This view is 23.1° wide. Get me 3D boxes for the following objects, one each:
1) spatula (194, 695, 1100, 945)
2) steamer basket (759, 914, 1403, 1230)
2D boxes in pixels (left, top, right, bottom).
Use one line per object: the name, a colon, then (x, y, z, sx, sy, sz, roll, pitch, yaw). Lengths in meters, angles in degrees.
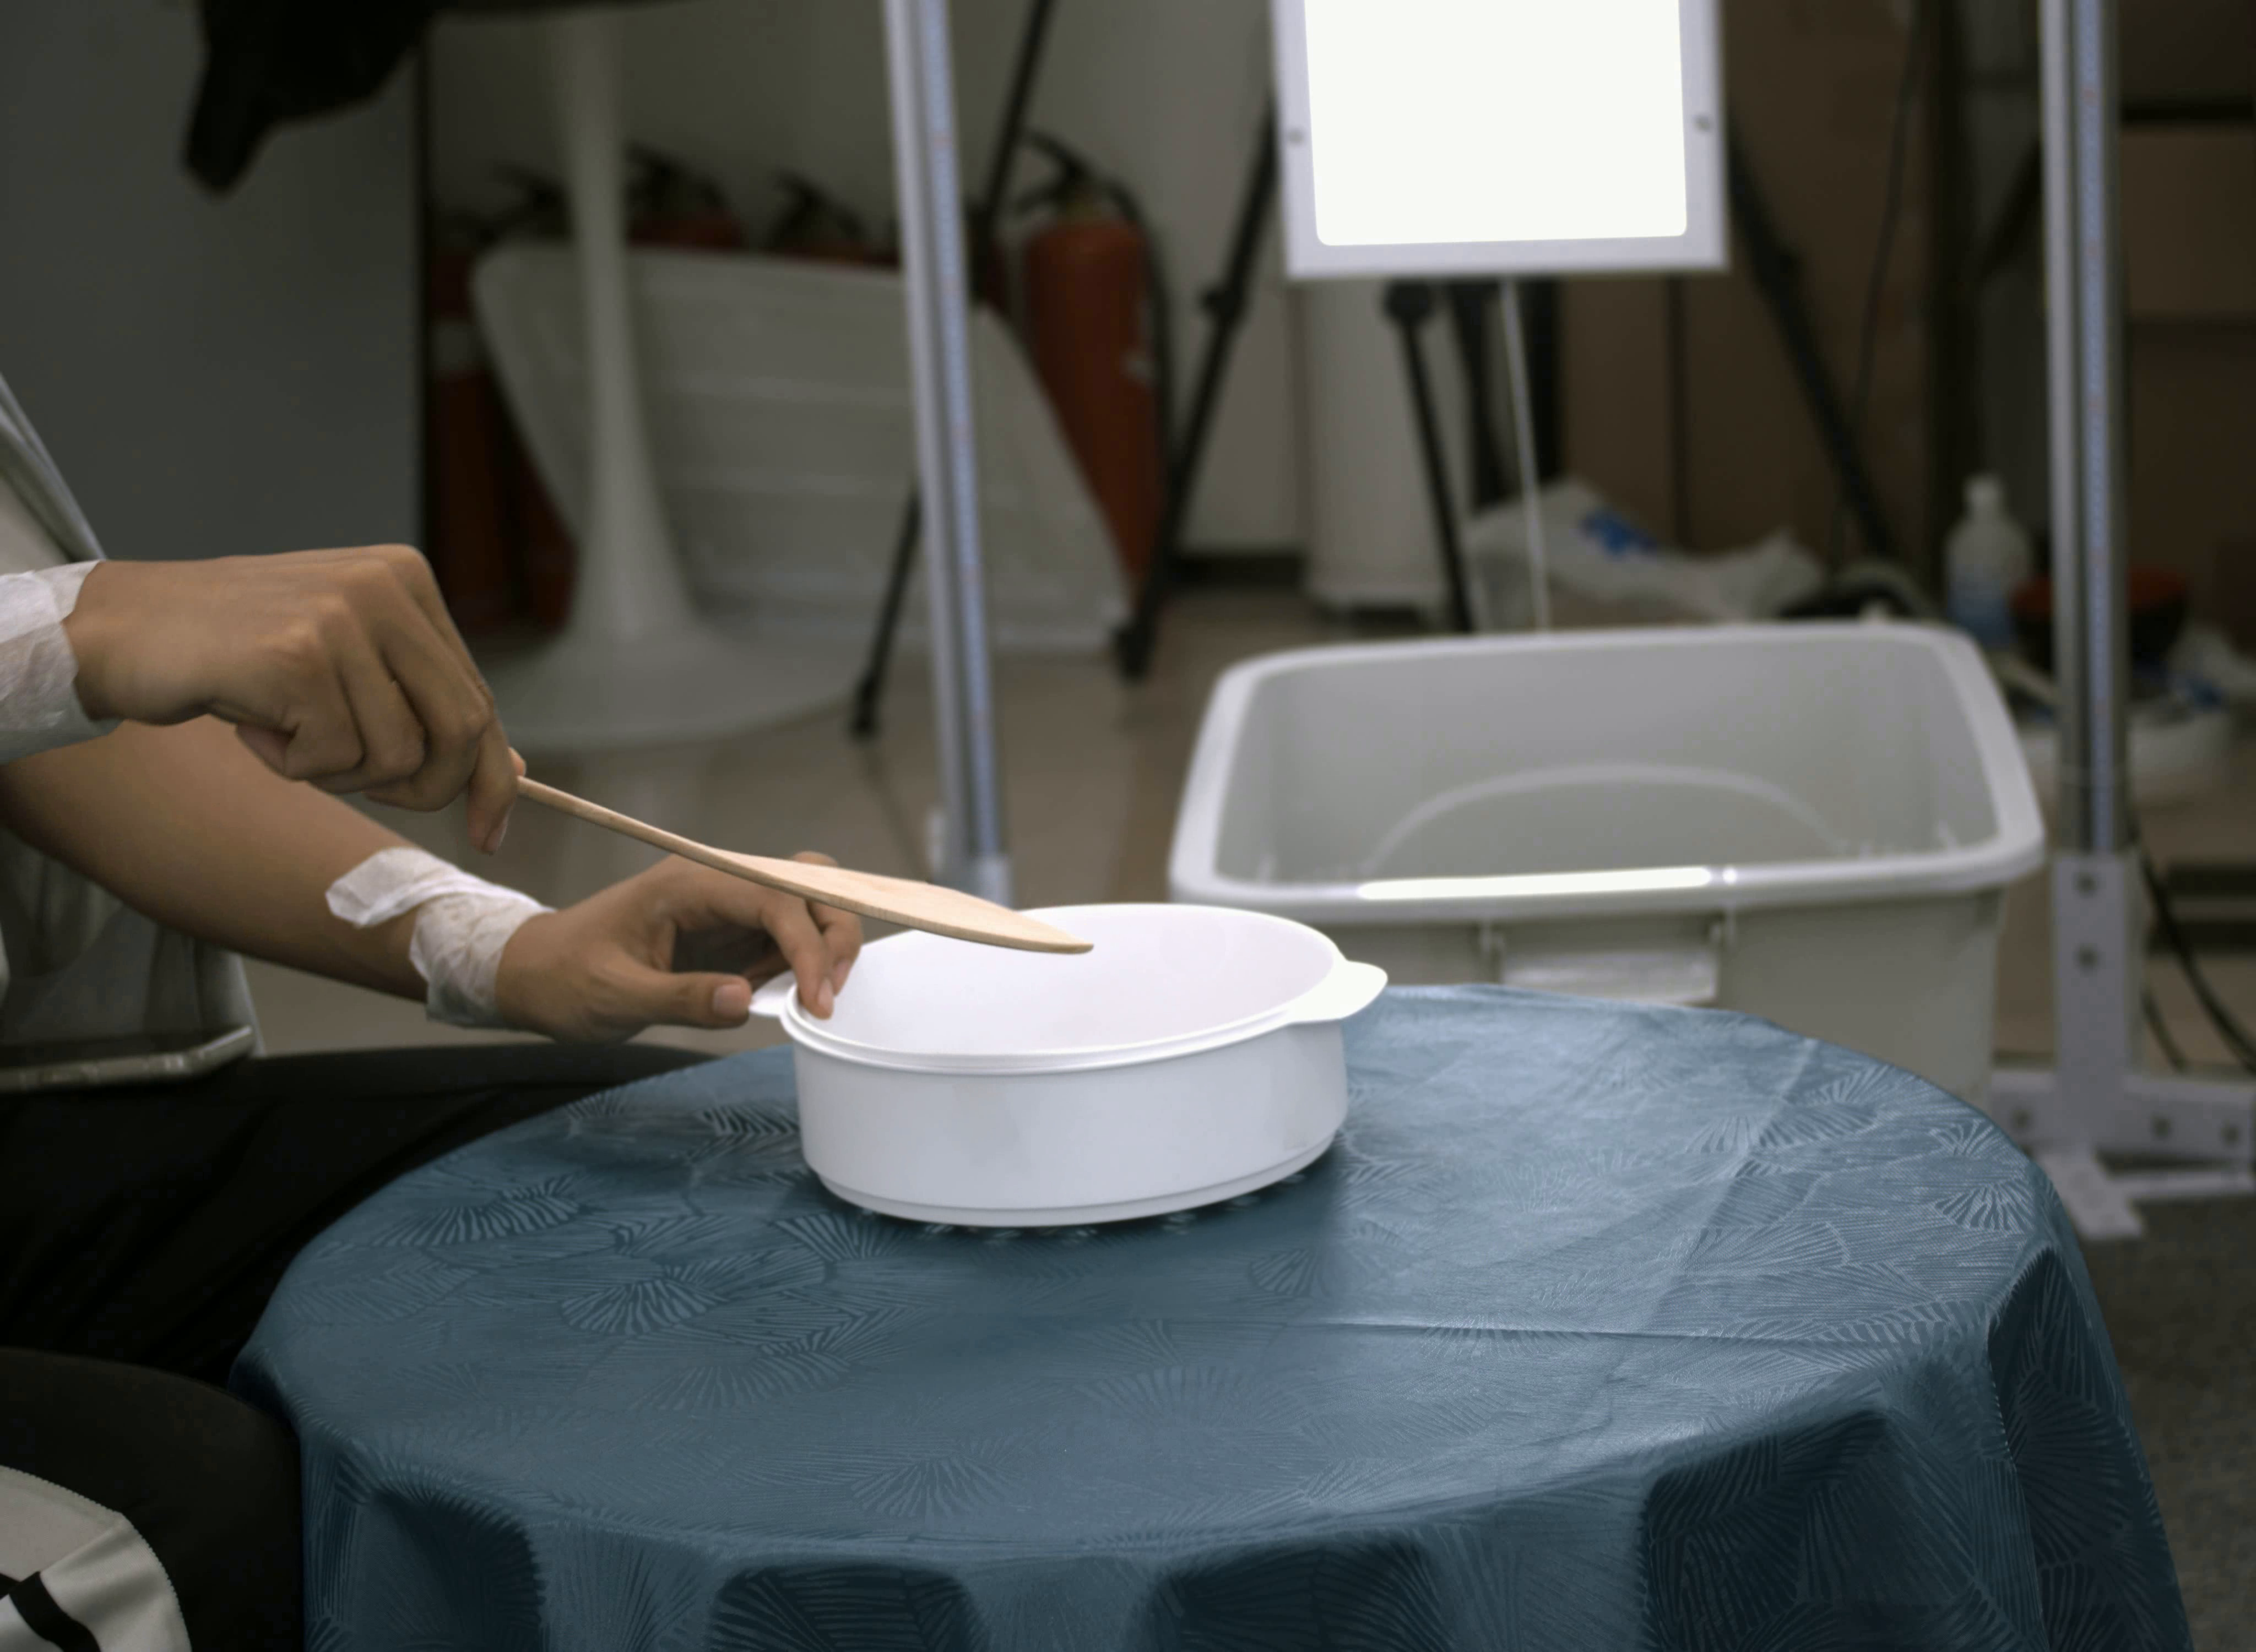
spatula: (-0.153, -0.003, 1.744, 0.320, 0.016, 0.081, 17, 4, -37)
steamer basket: (-0.015, 0.086, 1.932, 0.233, 0.069, 0.198, -1, 13, 20)
